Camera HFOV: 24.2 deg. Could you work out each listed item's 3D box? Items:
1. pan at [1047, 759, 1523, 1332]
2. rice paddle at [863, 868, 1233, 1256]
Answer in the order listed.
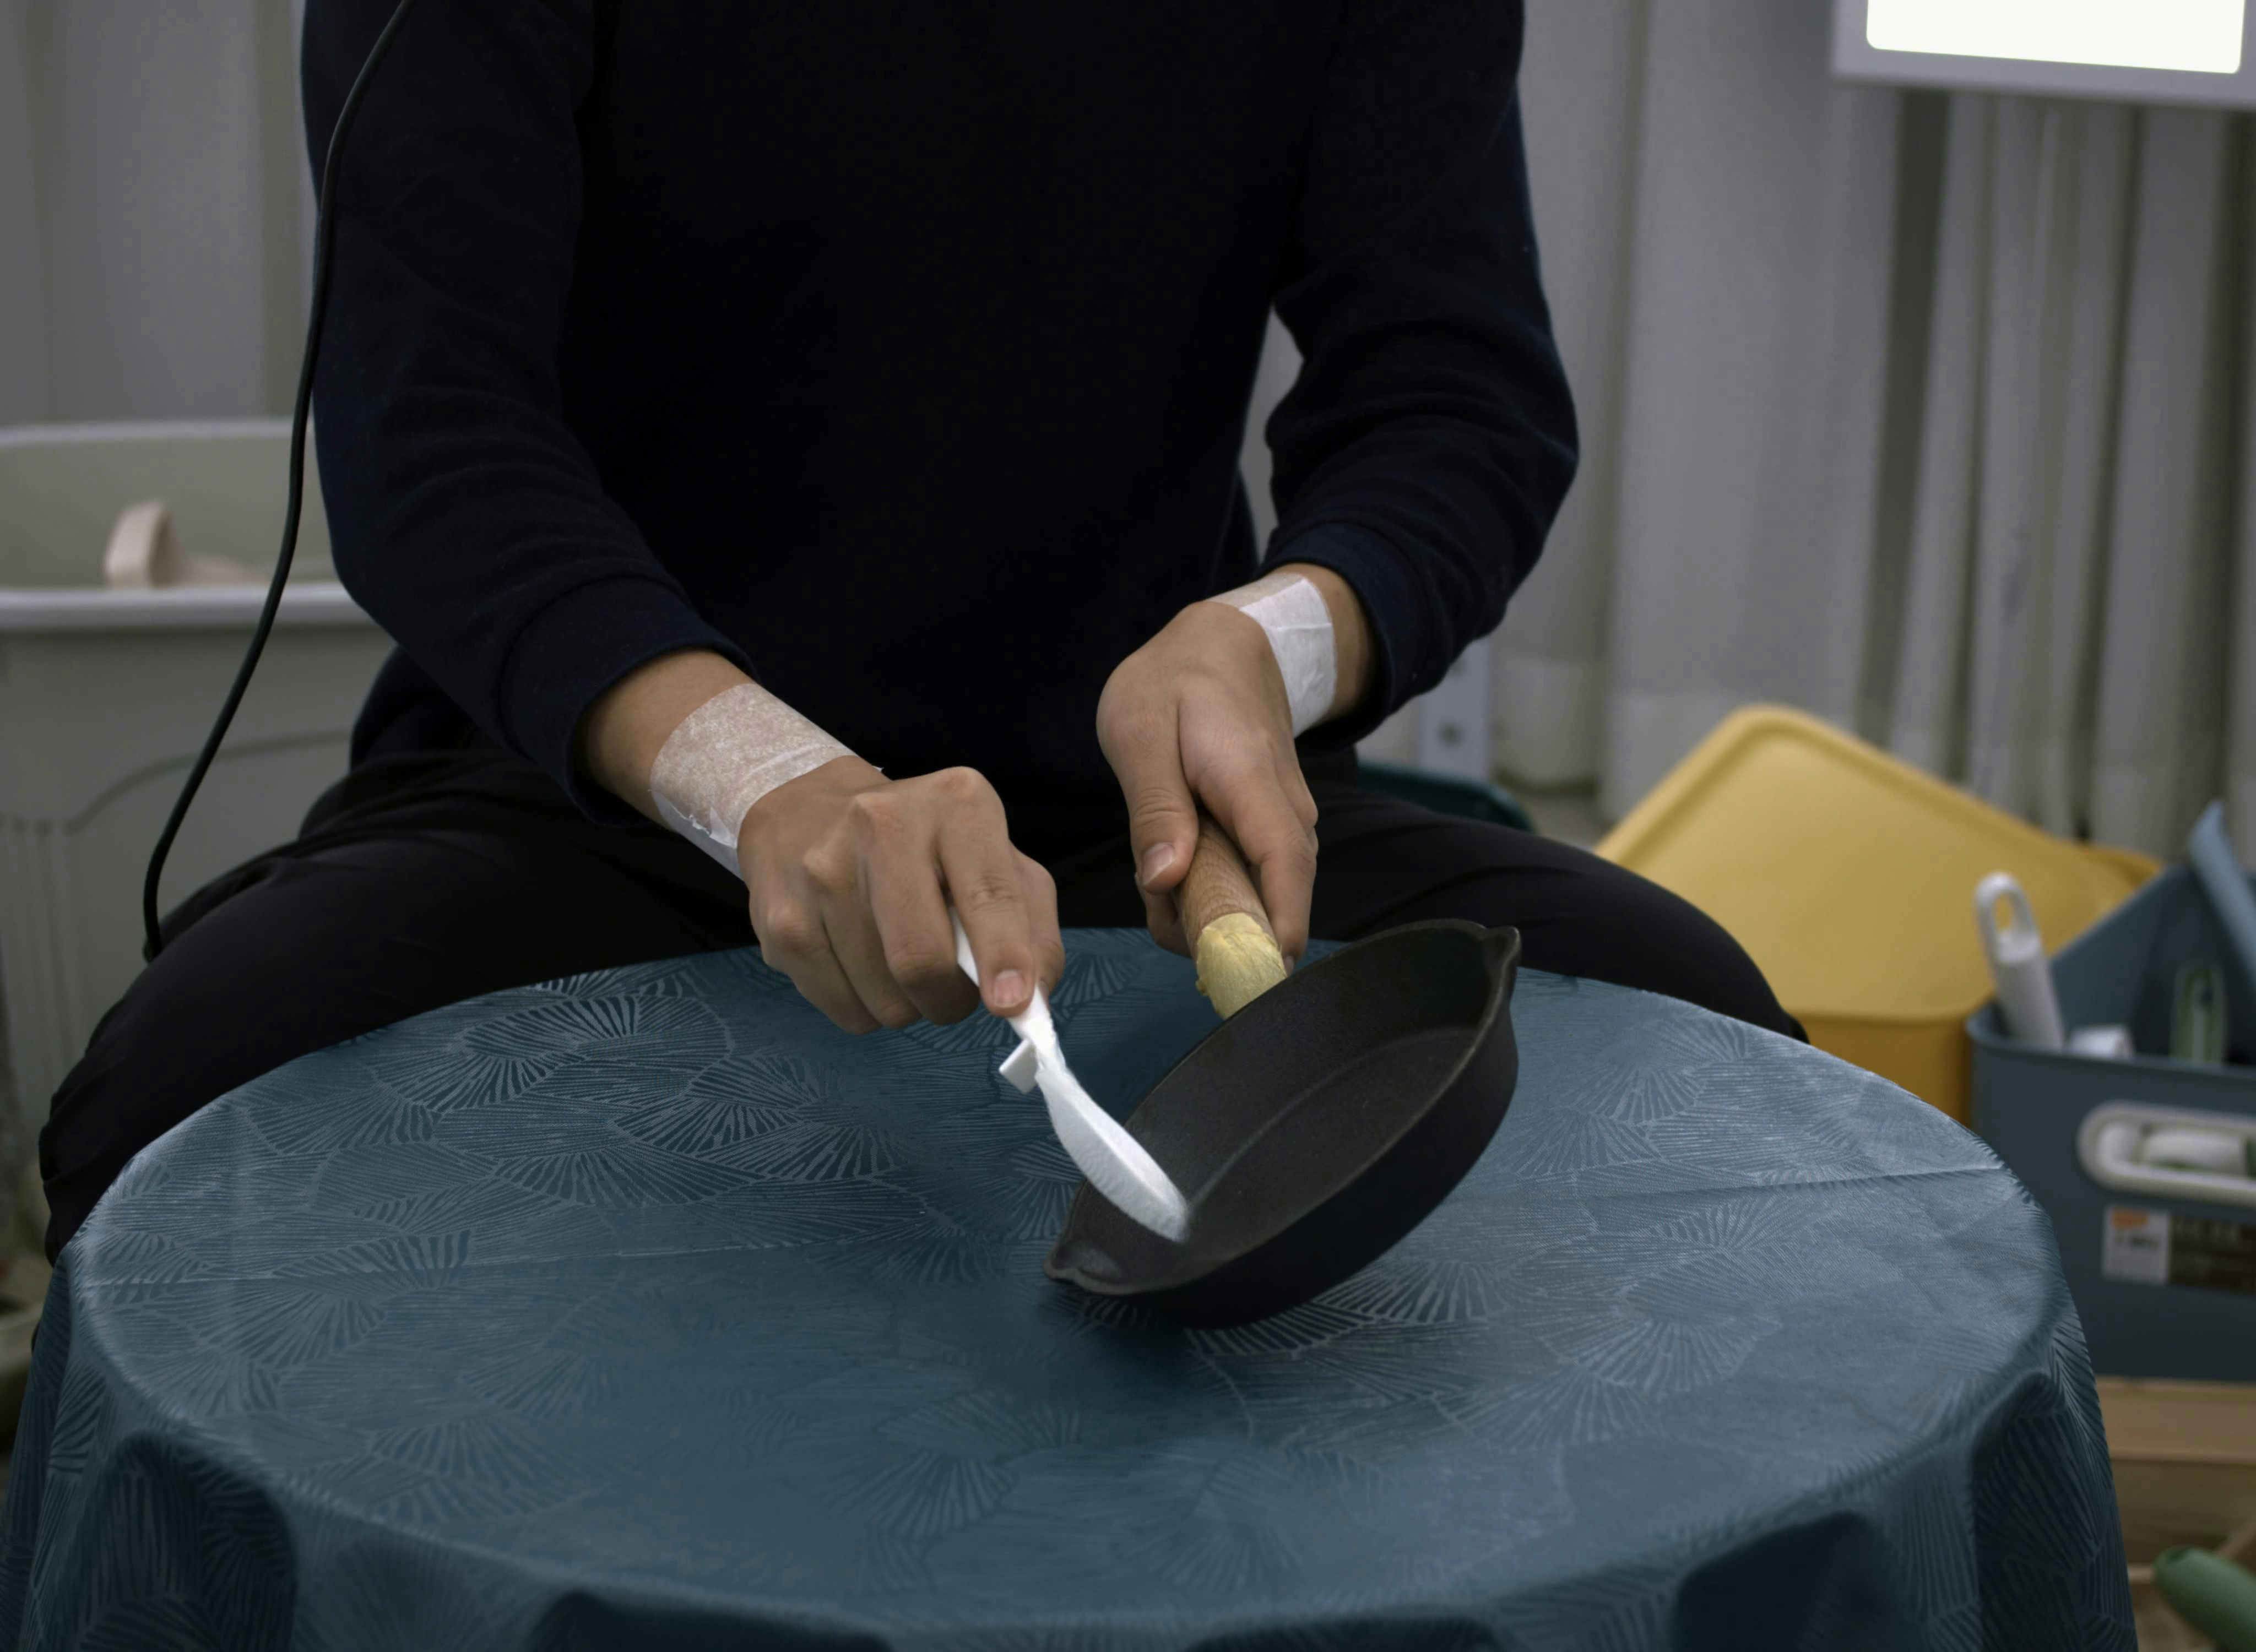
[{"bbox_3d":[0.042,0.055,1.595,0.168,0.050,0.321,-35,20,9],"label":"pan"},{"bbox_3d":[-0.022,0.068,1.521,0.070,0.029,0.202,43,1,-37],"label":"rice paddle"}]
